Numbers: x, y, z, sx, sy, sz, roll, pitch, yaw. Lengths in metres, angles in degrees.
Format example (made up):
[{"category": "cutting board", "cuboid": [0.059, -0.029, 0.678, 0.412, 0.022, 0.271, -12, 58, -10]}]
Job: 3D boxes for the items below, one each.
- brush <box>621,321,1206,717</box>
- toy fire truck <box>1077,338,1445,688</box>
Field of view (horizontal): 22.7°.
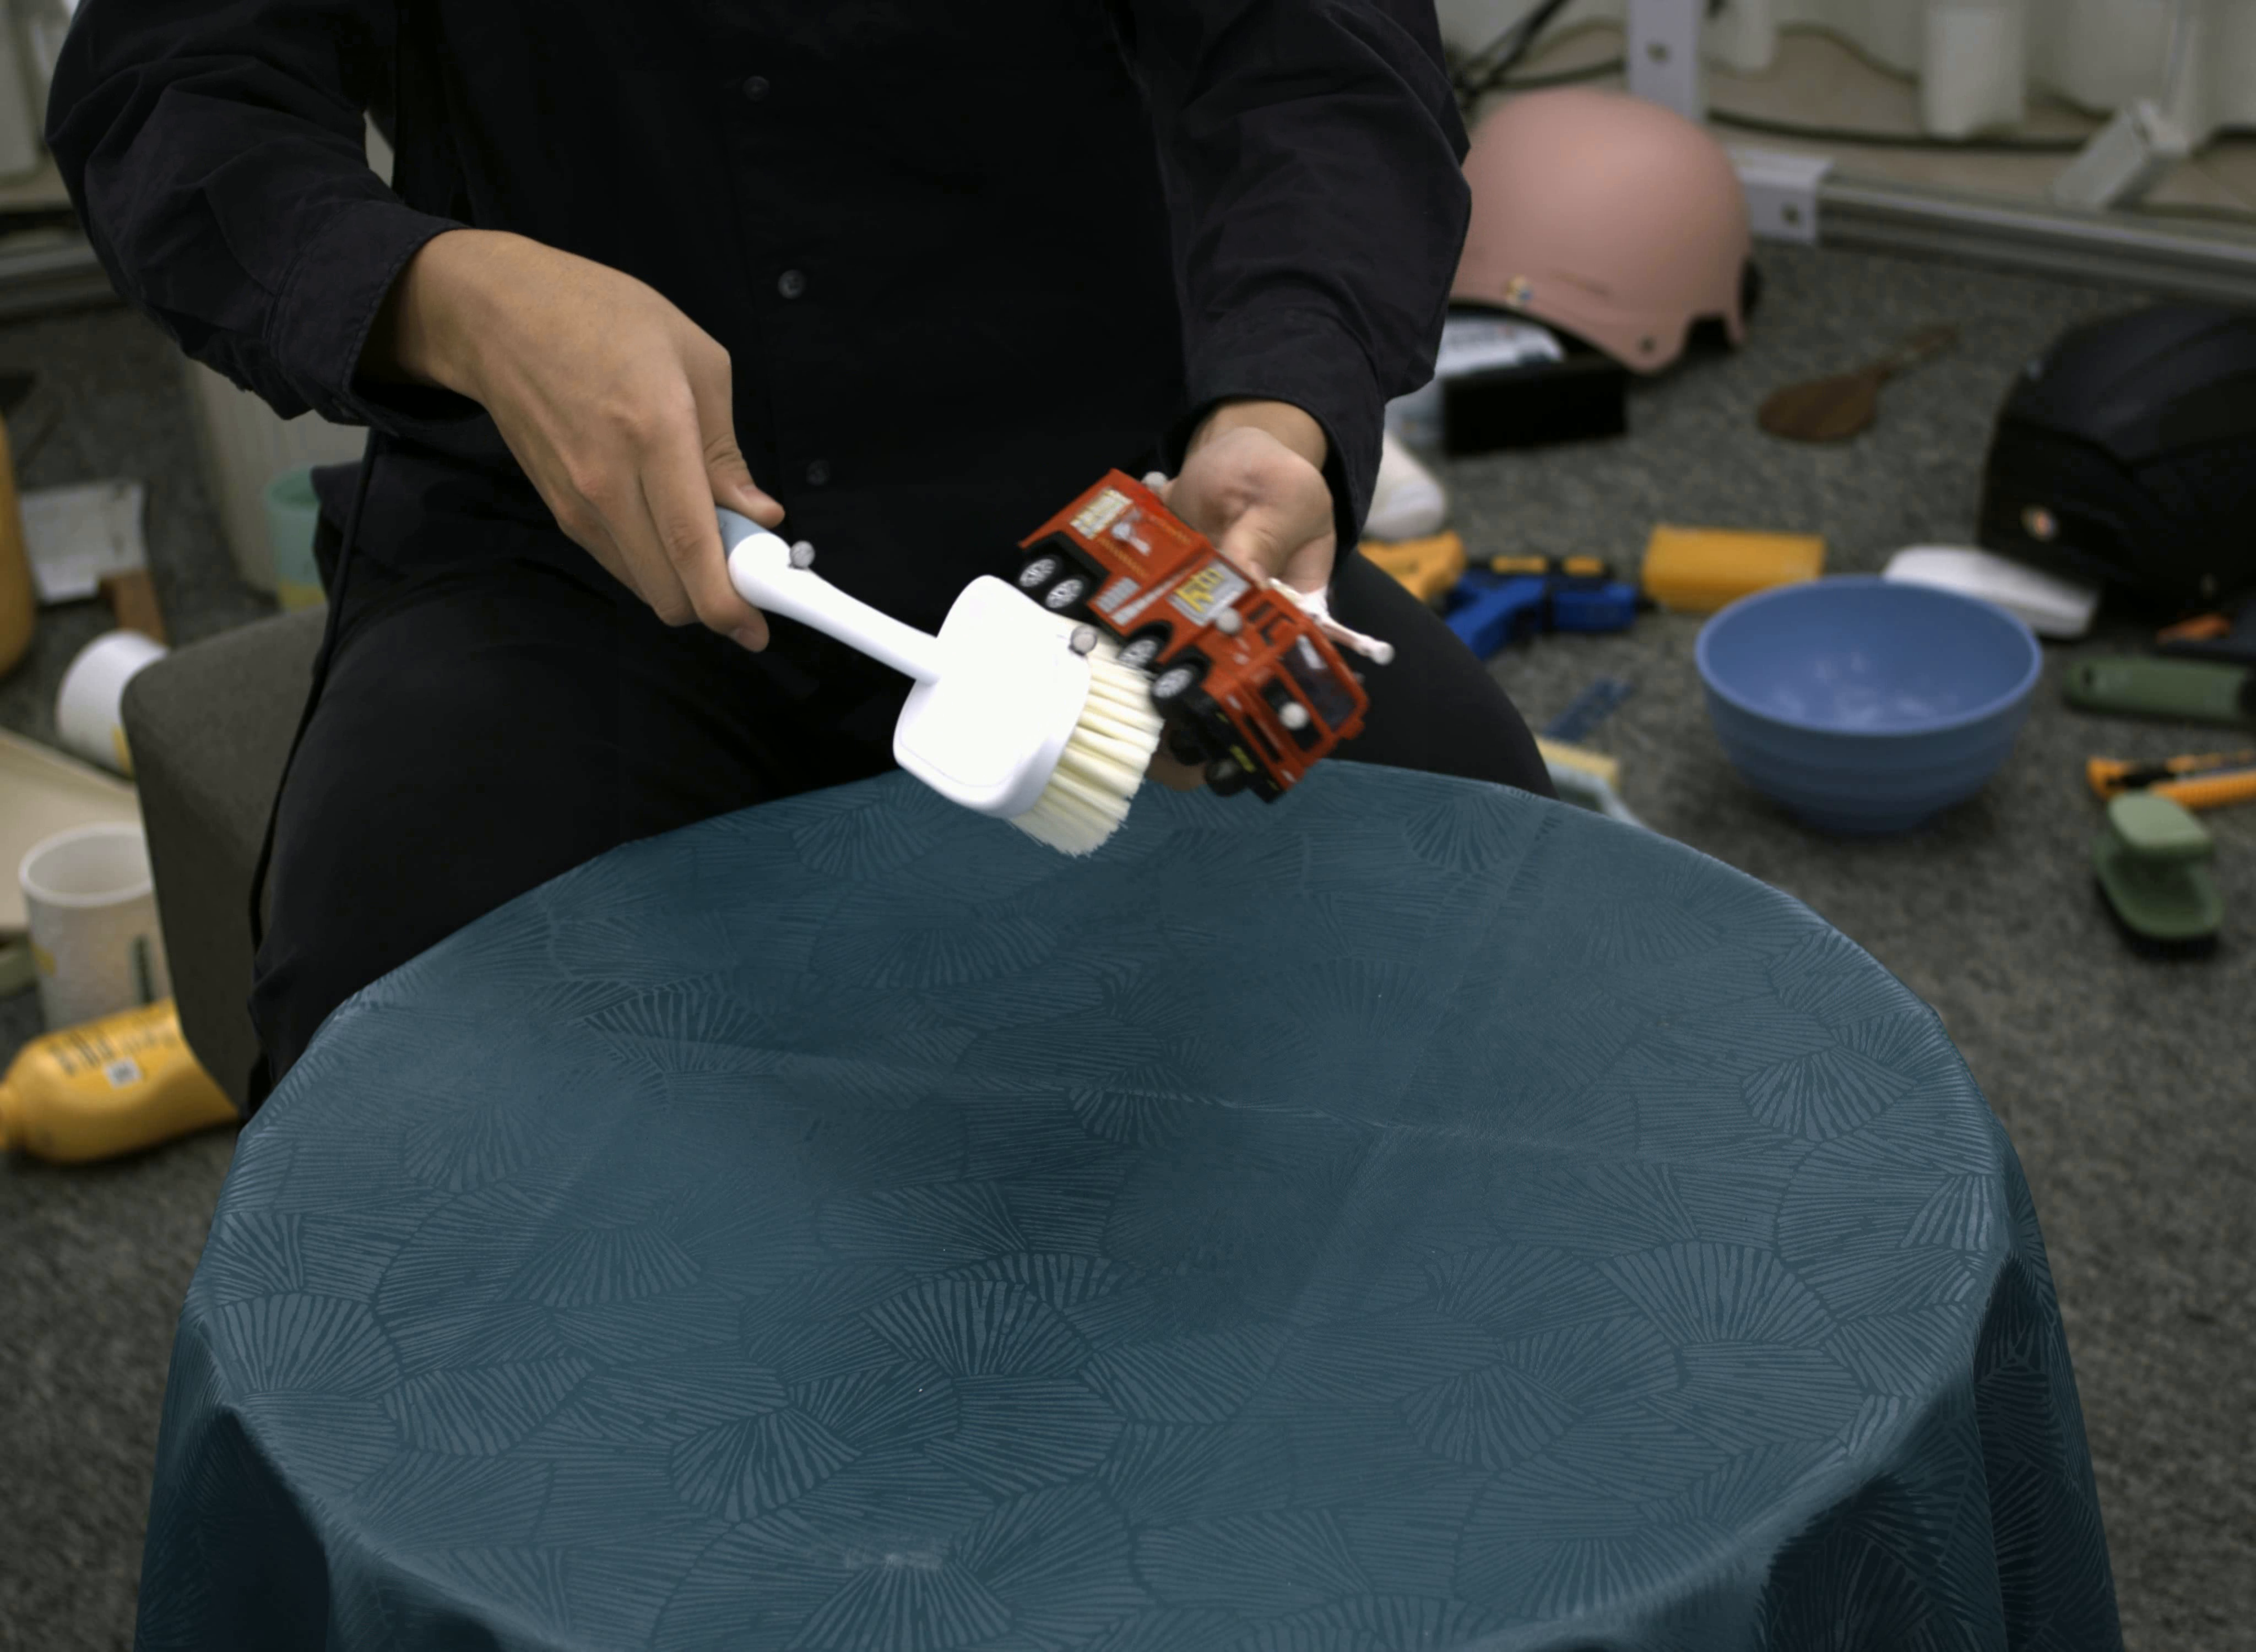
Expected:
[{"category": "brush", "cuboid": [-0.060, -0.109, 1.856, 0.084, 0.084, 0.326, -35, 34, -16]}, {"category": "toy fire truck", "cuboid": [0.038, -0.102, 1.786, 0.070, 0.053, 0.169, -40, 31, -6]}]
